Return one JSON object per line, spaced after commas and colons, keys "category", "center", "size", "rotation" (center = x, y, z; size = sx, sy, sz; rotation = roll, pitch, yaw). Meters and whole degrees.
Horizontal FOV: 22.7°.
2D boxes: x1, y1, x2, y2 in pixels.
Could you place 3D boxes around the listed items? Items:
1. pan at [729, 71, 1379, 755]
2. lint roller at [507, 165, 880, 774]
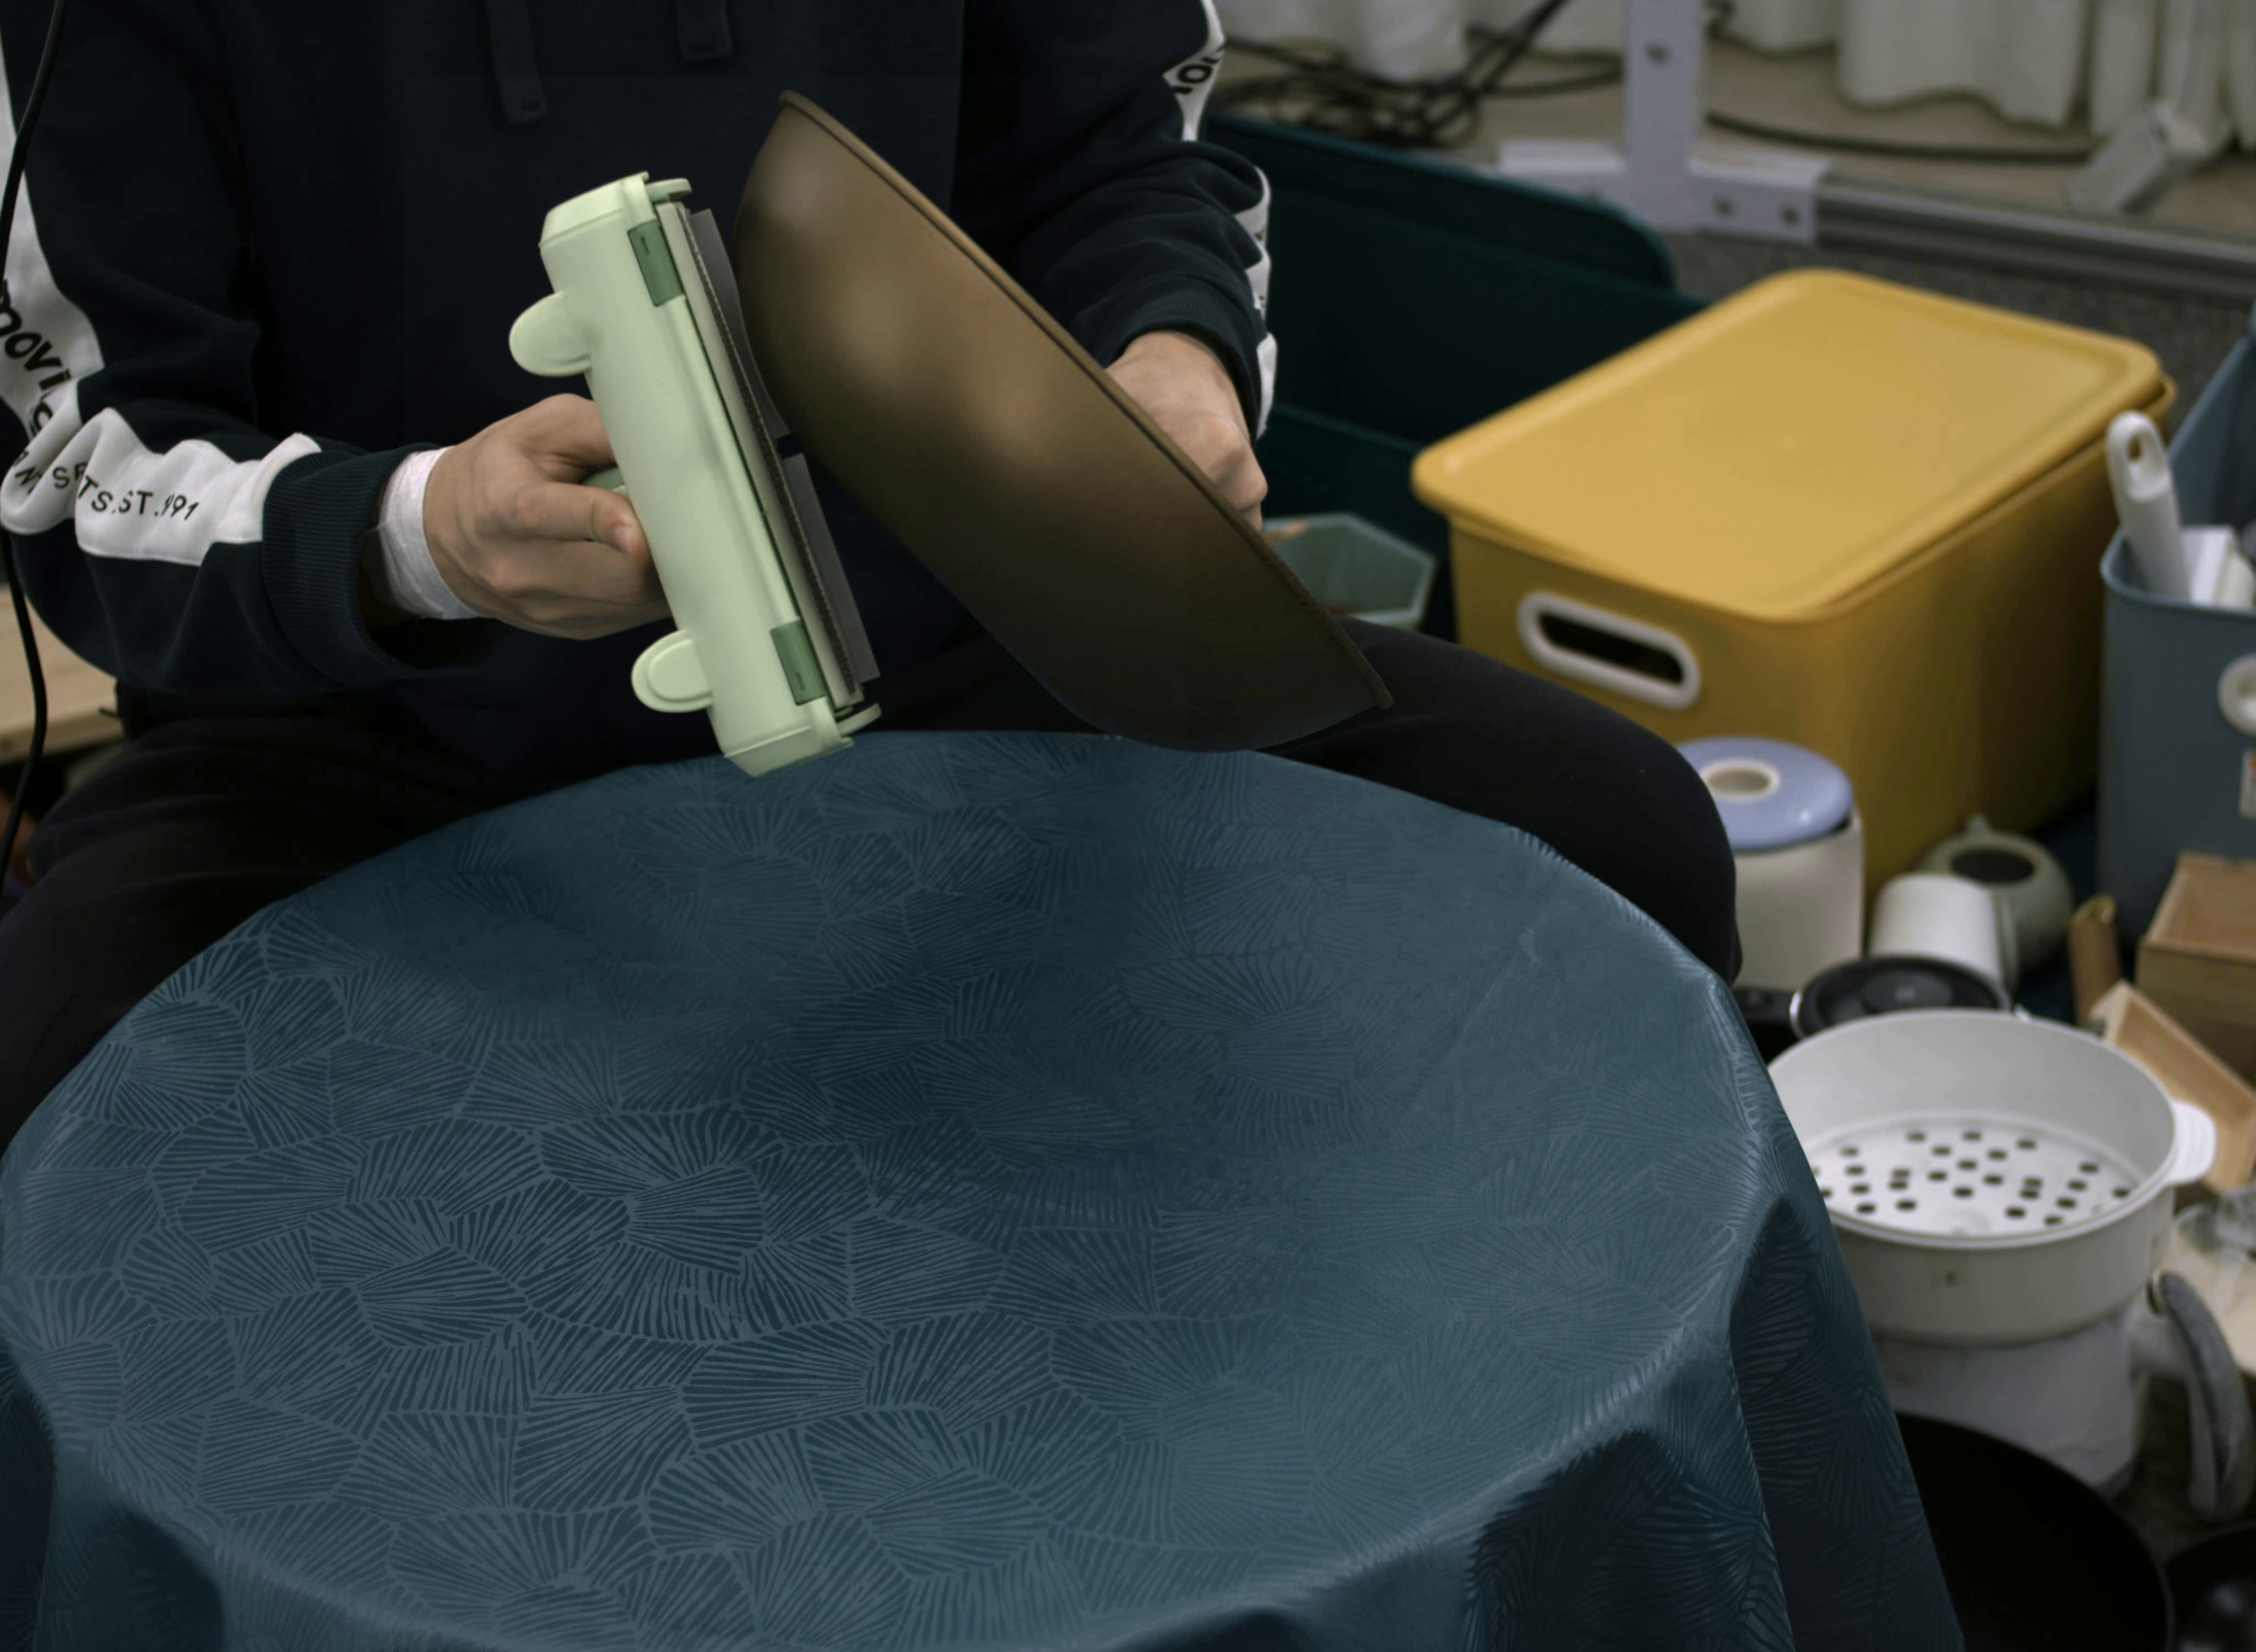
{"category": "pan", "center": [-0.033, -0.109, 1.950], "size": [0.087, 0.289, 0.462], "rotation": [-43, -8, -1]}
{"category": "lint roller", "center": [-0.170, -0.105, 1.868], "size": [0.083, 0.199, 0.181], "rotation": [-20, 2, -34]}
